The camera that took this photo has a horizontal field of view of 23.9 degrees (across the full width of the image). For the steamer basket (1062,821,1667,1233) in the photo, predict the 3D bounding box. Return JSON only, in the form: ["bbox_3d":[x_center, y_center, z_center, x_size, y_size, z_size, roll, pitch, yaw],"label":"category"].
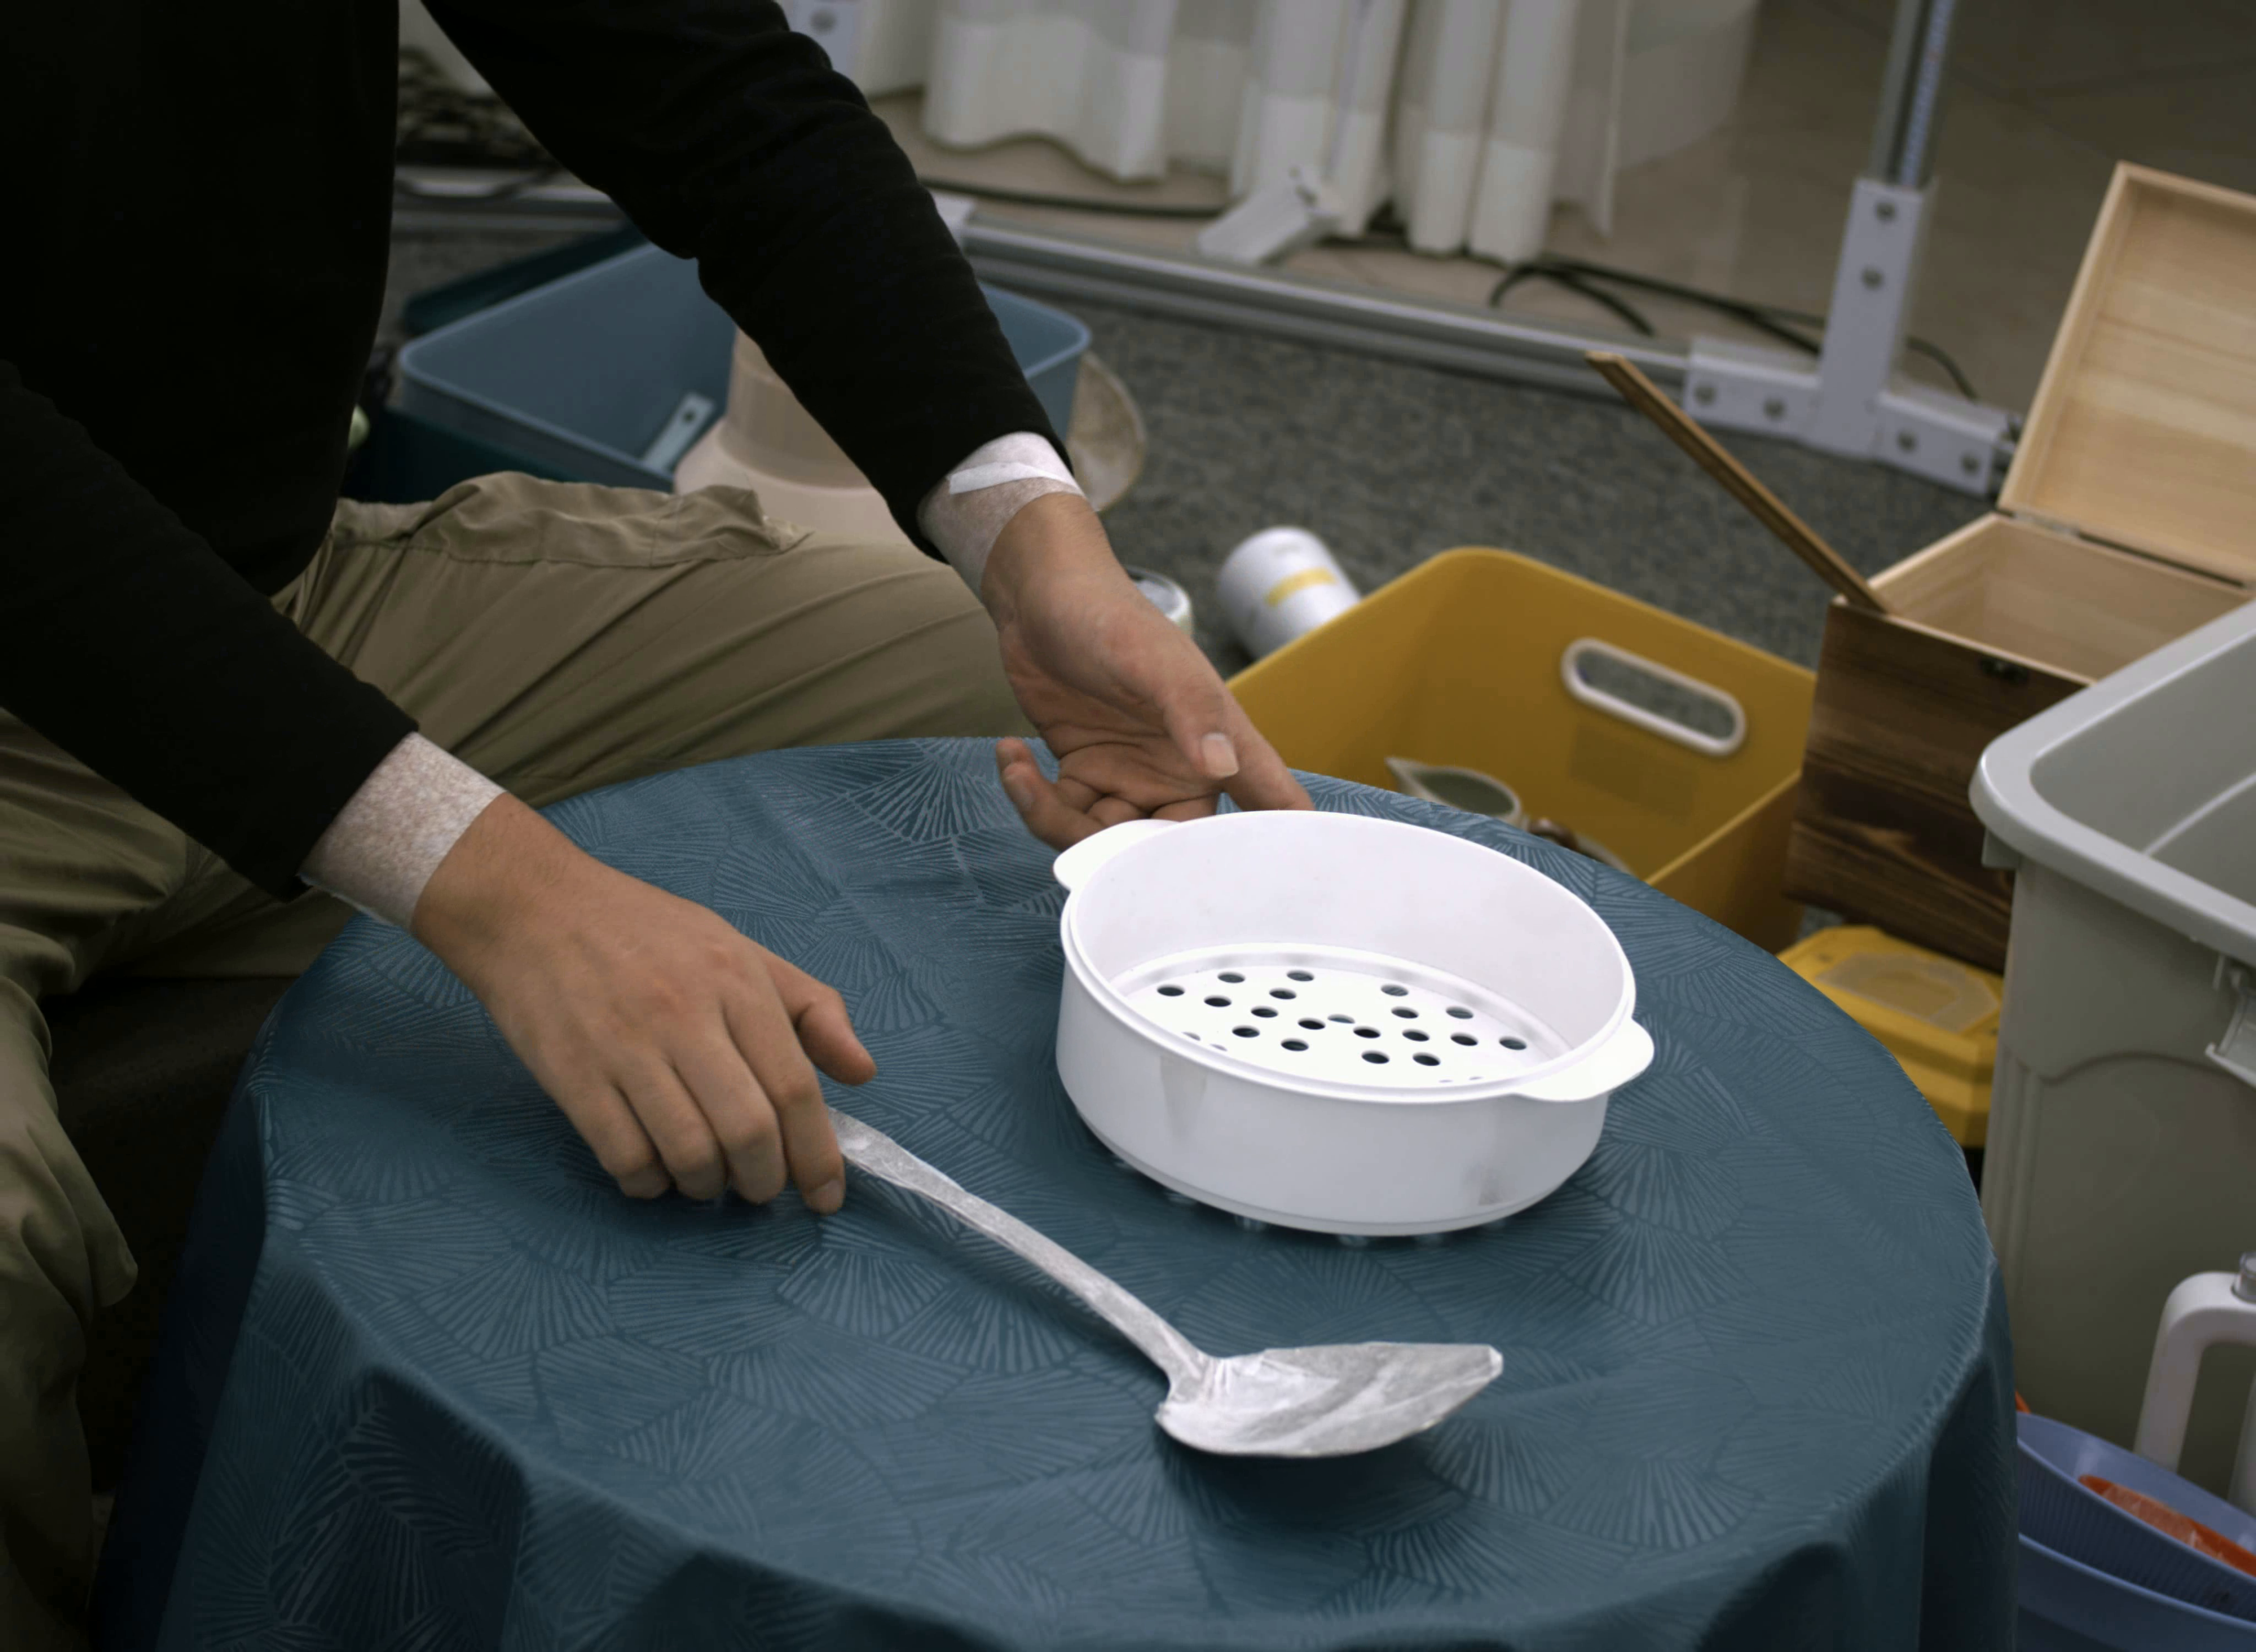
[{"bbox_3d":[0.077,0.070,1.847,0.232,0.069,0.201,23,30,31],"label":"steamer basket"}]

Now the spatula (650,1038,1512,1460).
[{"bbox_3d":[-0.037,0.129,1.741,0.367,0.044,0.098,27,36,35],"label":"spatula"}]
